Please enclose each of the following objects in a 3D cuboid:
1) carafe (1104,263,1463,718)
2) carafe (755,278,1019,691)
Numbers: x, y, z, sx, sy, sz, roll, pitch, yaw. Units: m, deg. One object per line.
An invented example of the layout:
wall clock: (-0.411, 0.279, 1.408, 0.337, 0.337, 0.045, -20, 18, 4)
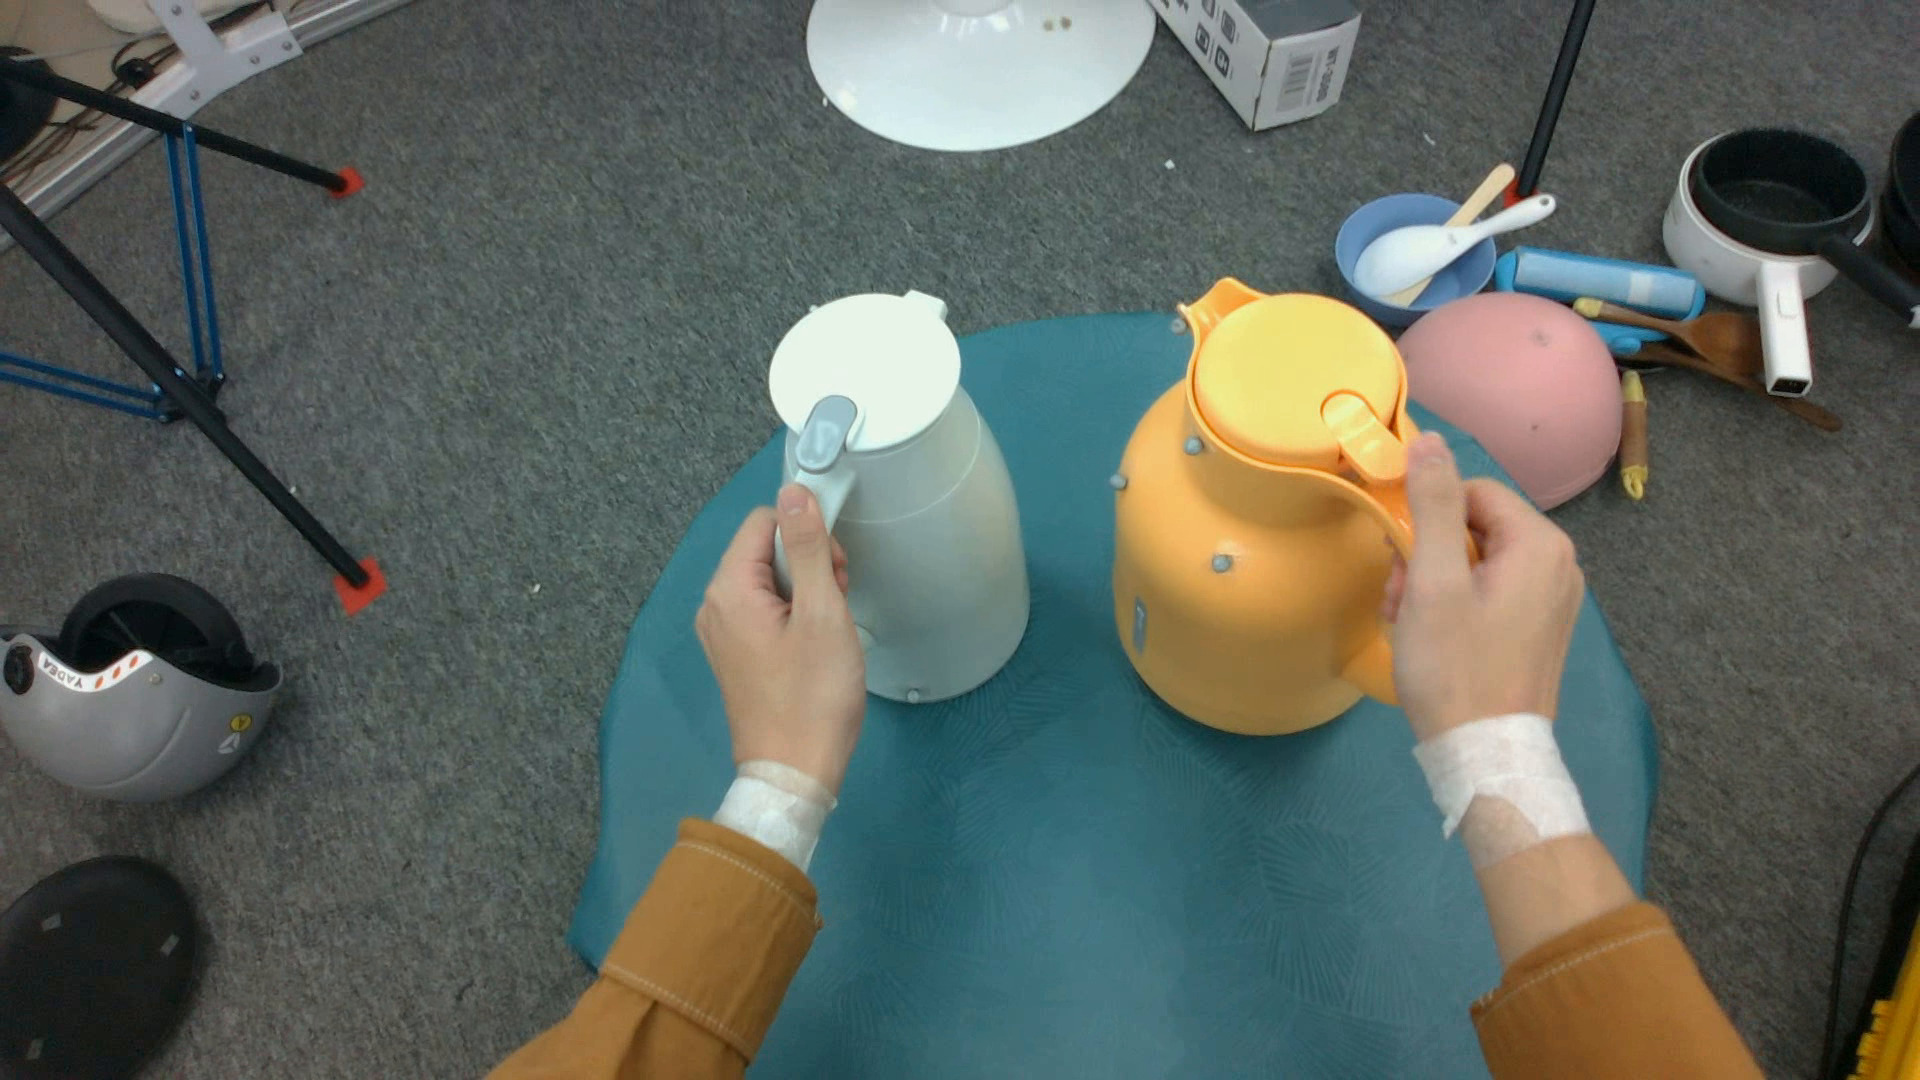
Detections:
carafe: (0.165, -0.008, 0.709, 0.164, 0.259, 0.203, -31, 60, -9)
carafe: (-0.048, -0.013, 0.739, 0.132, 0.247, 0.168, 20, 64, 17)
